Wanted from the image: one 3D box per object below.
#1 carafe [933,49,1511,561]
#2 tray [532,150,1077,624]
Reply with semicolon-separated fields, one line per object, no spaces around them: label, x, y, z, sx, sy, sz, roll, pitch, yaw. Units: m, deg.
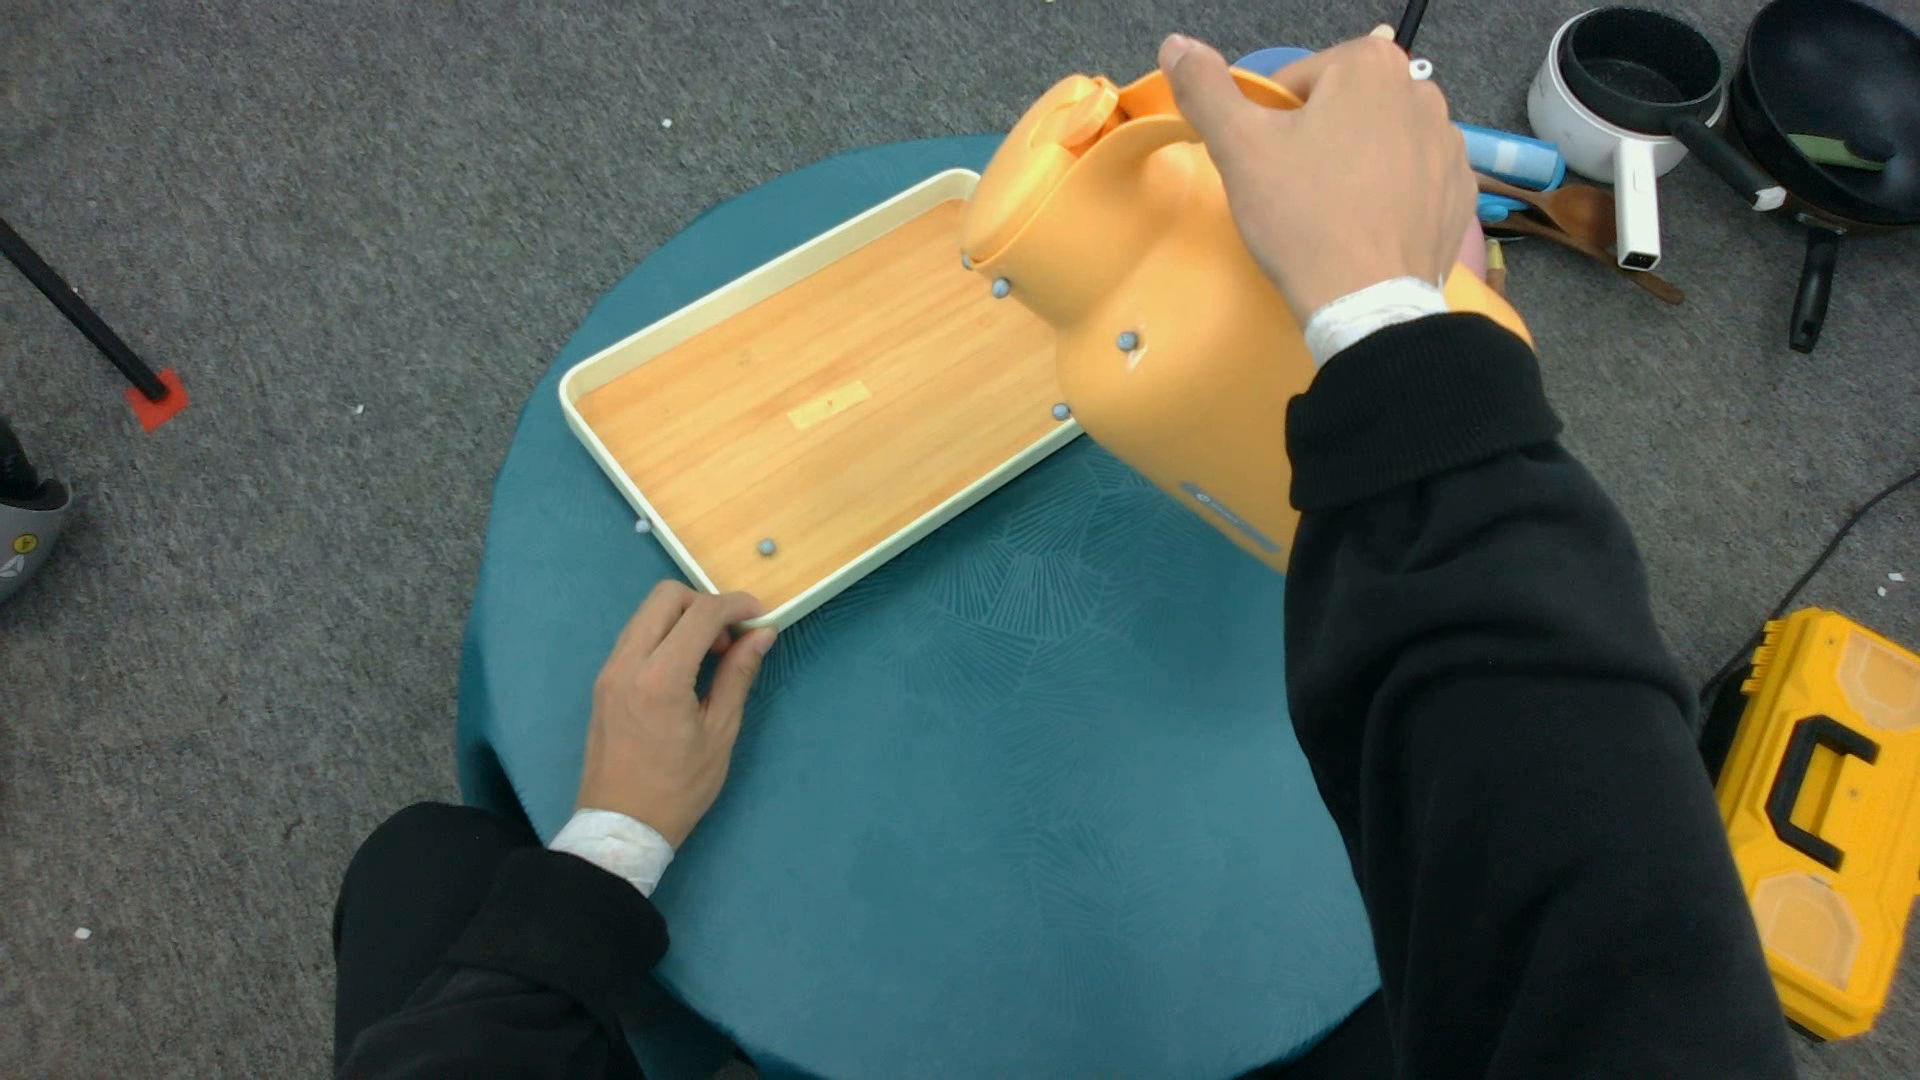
carafe;0.121;-0.112;0.615;0.260;0.202;0.164;30;73;-19
tray;-0.069;-0.099;0.792;0.301;0.027;0.192;-34;72;-23
